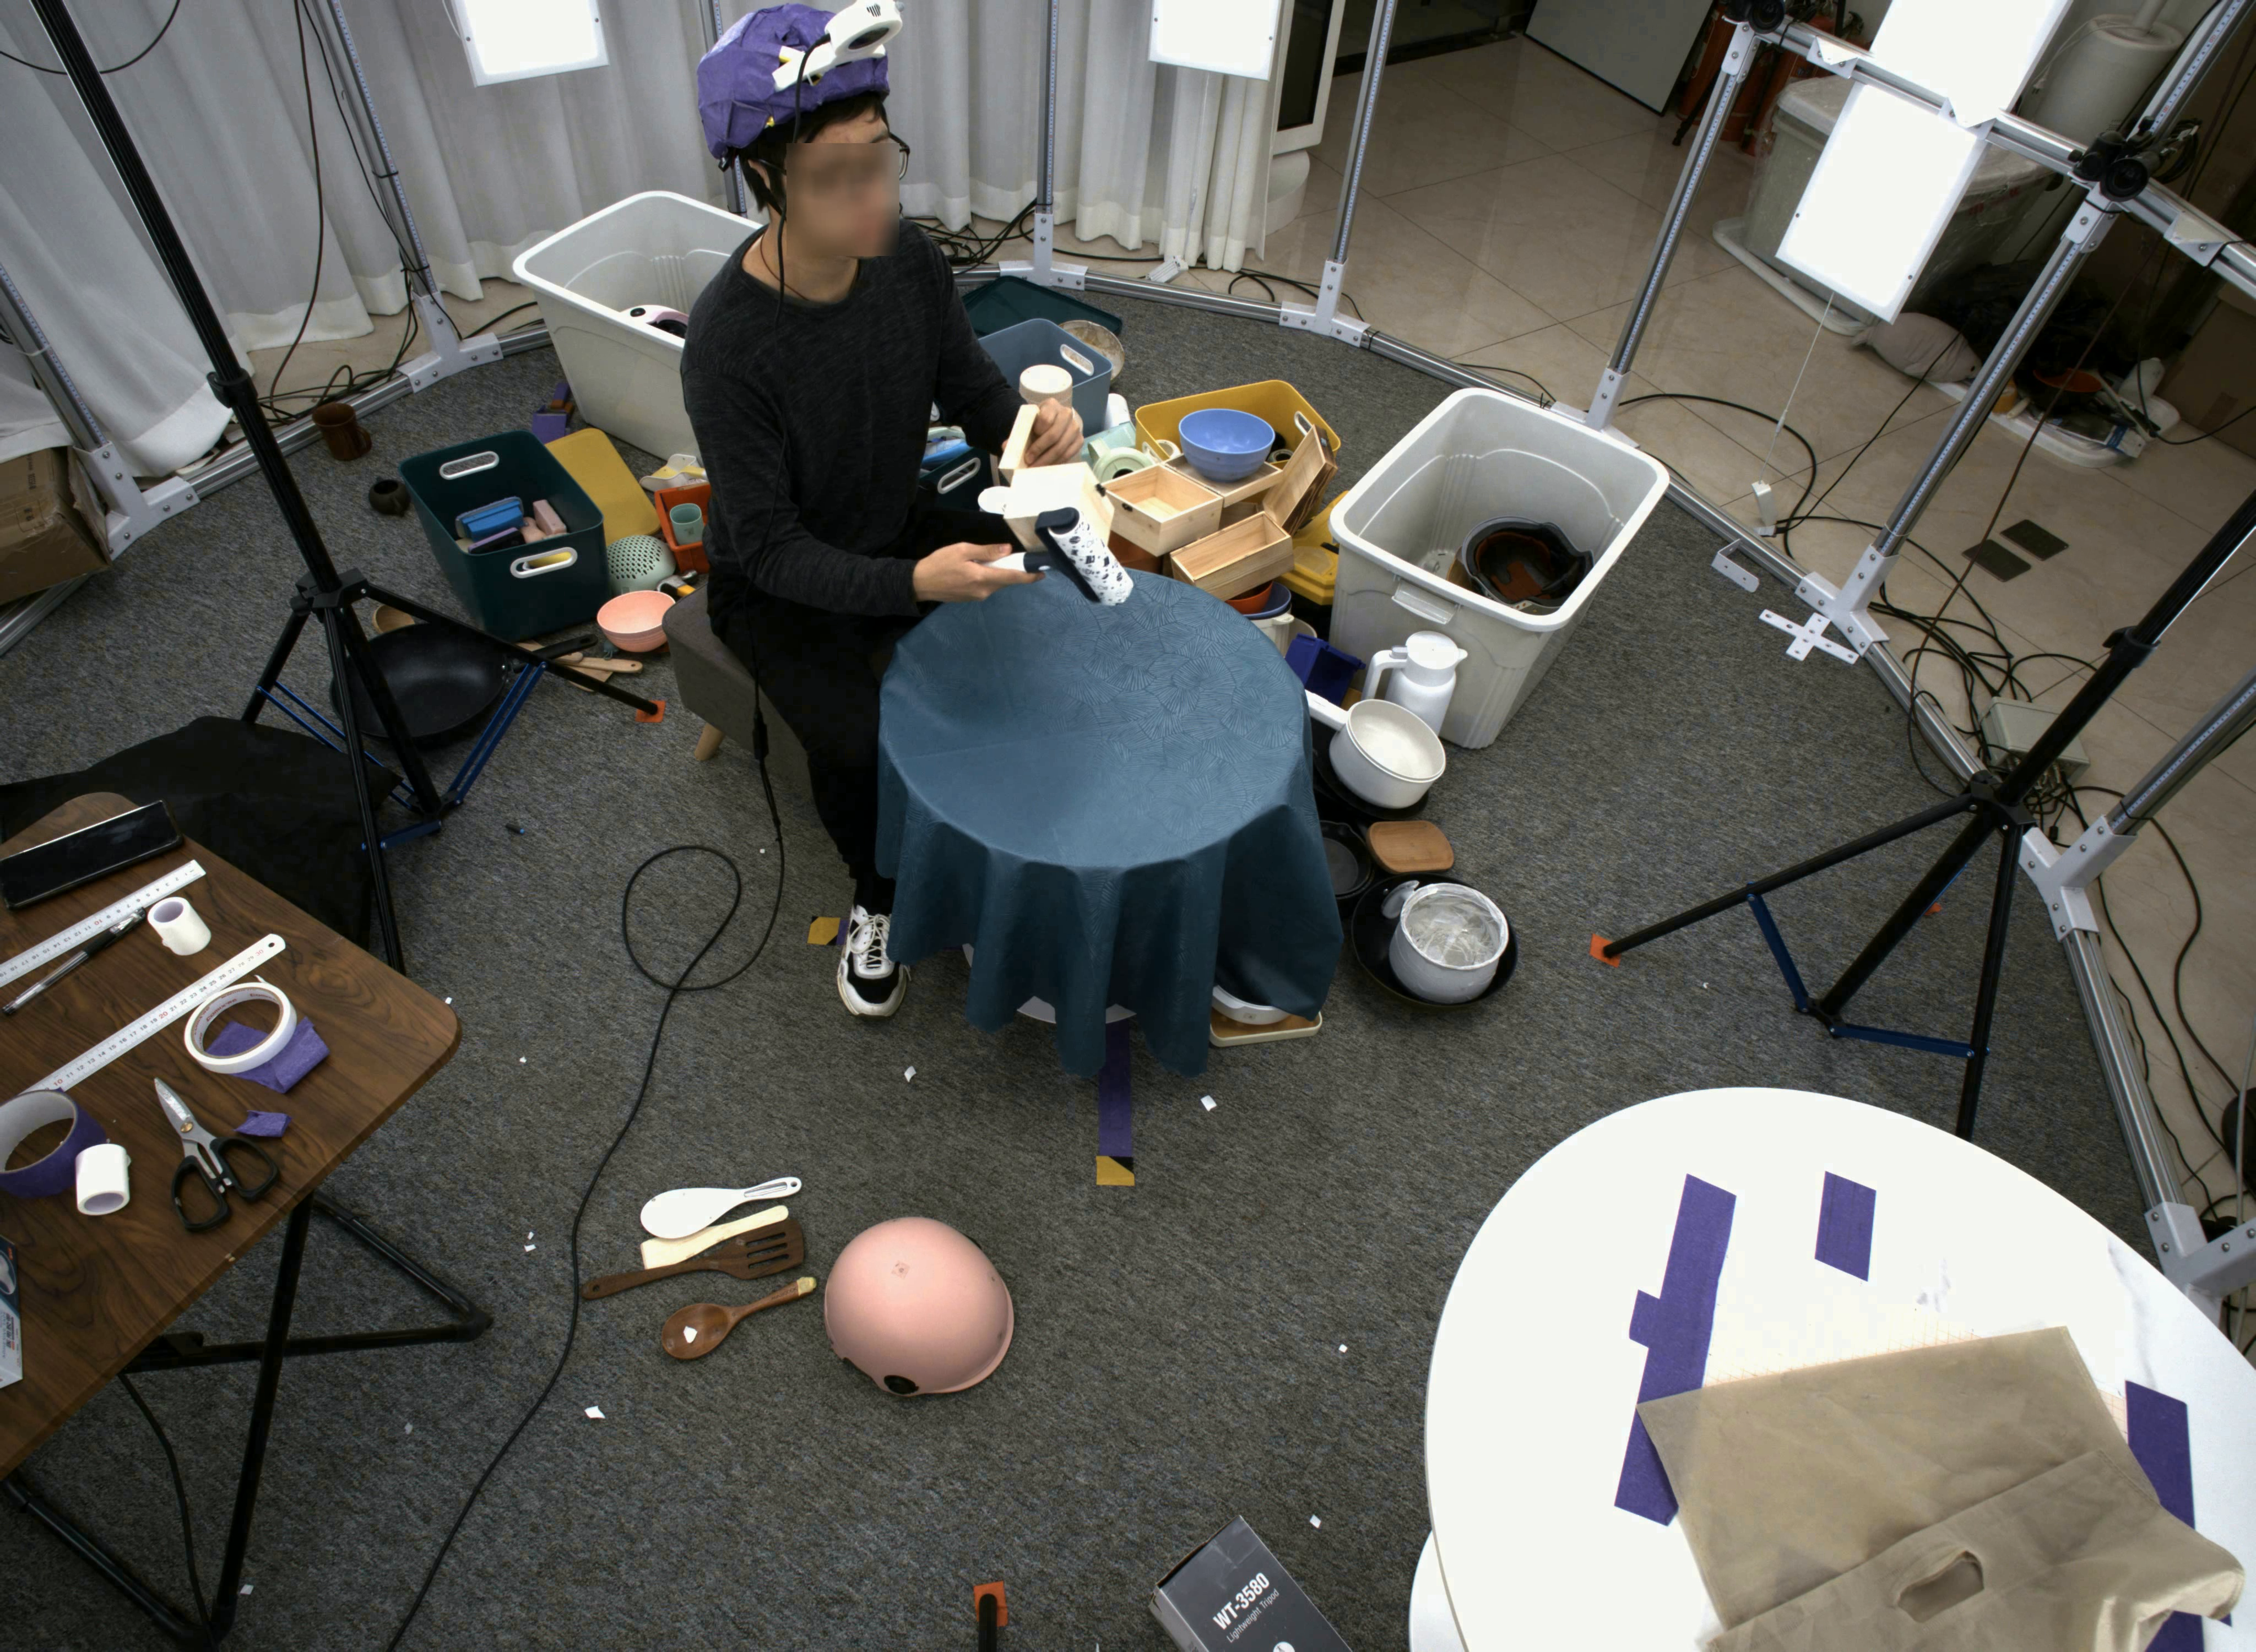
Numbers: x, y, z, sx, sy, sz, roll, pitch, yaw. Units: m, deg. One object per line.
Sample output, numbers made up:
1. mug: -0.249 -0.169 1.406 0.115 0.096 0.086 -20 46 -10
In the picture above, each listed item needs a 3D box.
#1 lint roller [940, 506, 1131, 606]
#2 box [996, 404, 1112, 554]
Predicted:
1. lint roller: -0.138 -0.336 1.671 0.247 0.173 0.051 -2 66 27
2. box: -0.091 -0.450 1.683 0.134 0.100 0.188 0 65 22
